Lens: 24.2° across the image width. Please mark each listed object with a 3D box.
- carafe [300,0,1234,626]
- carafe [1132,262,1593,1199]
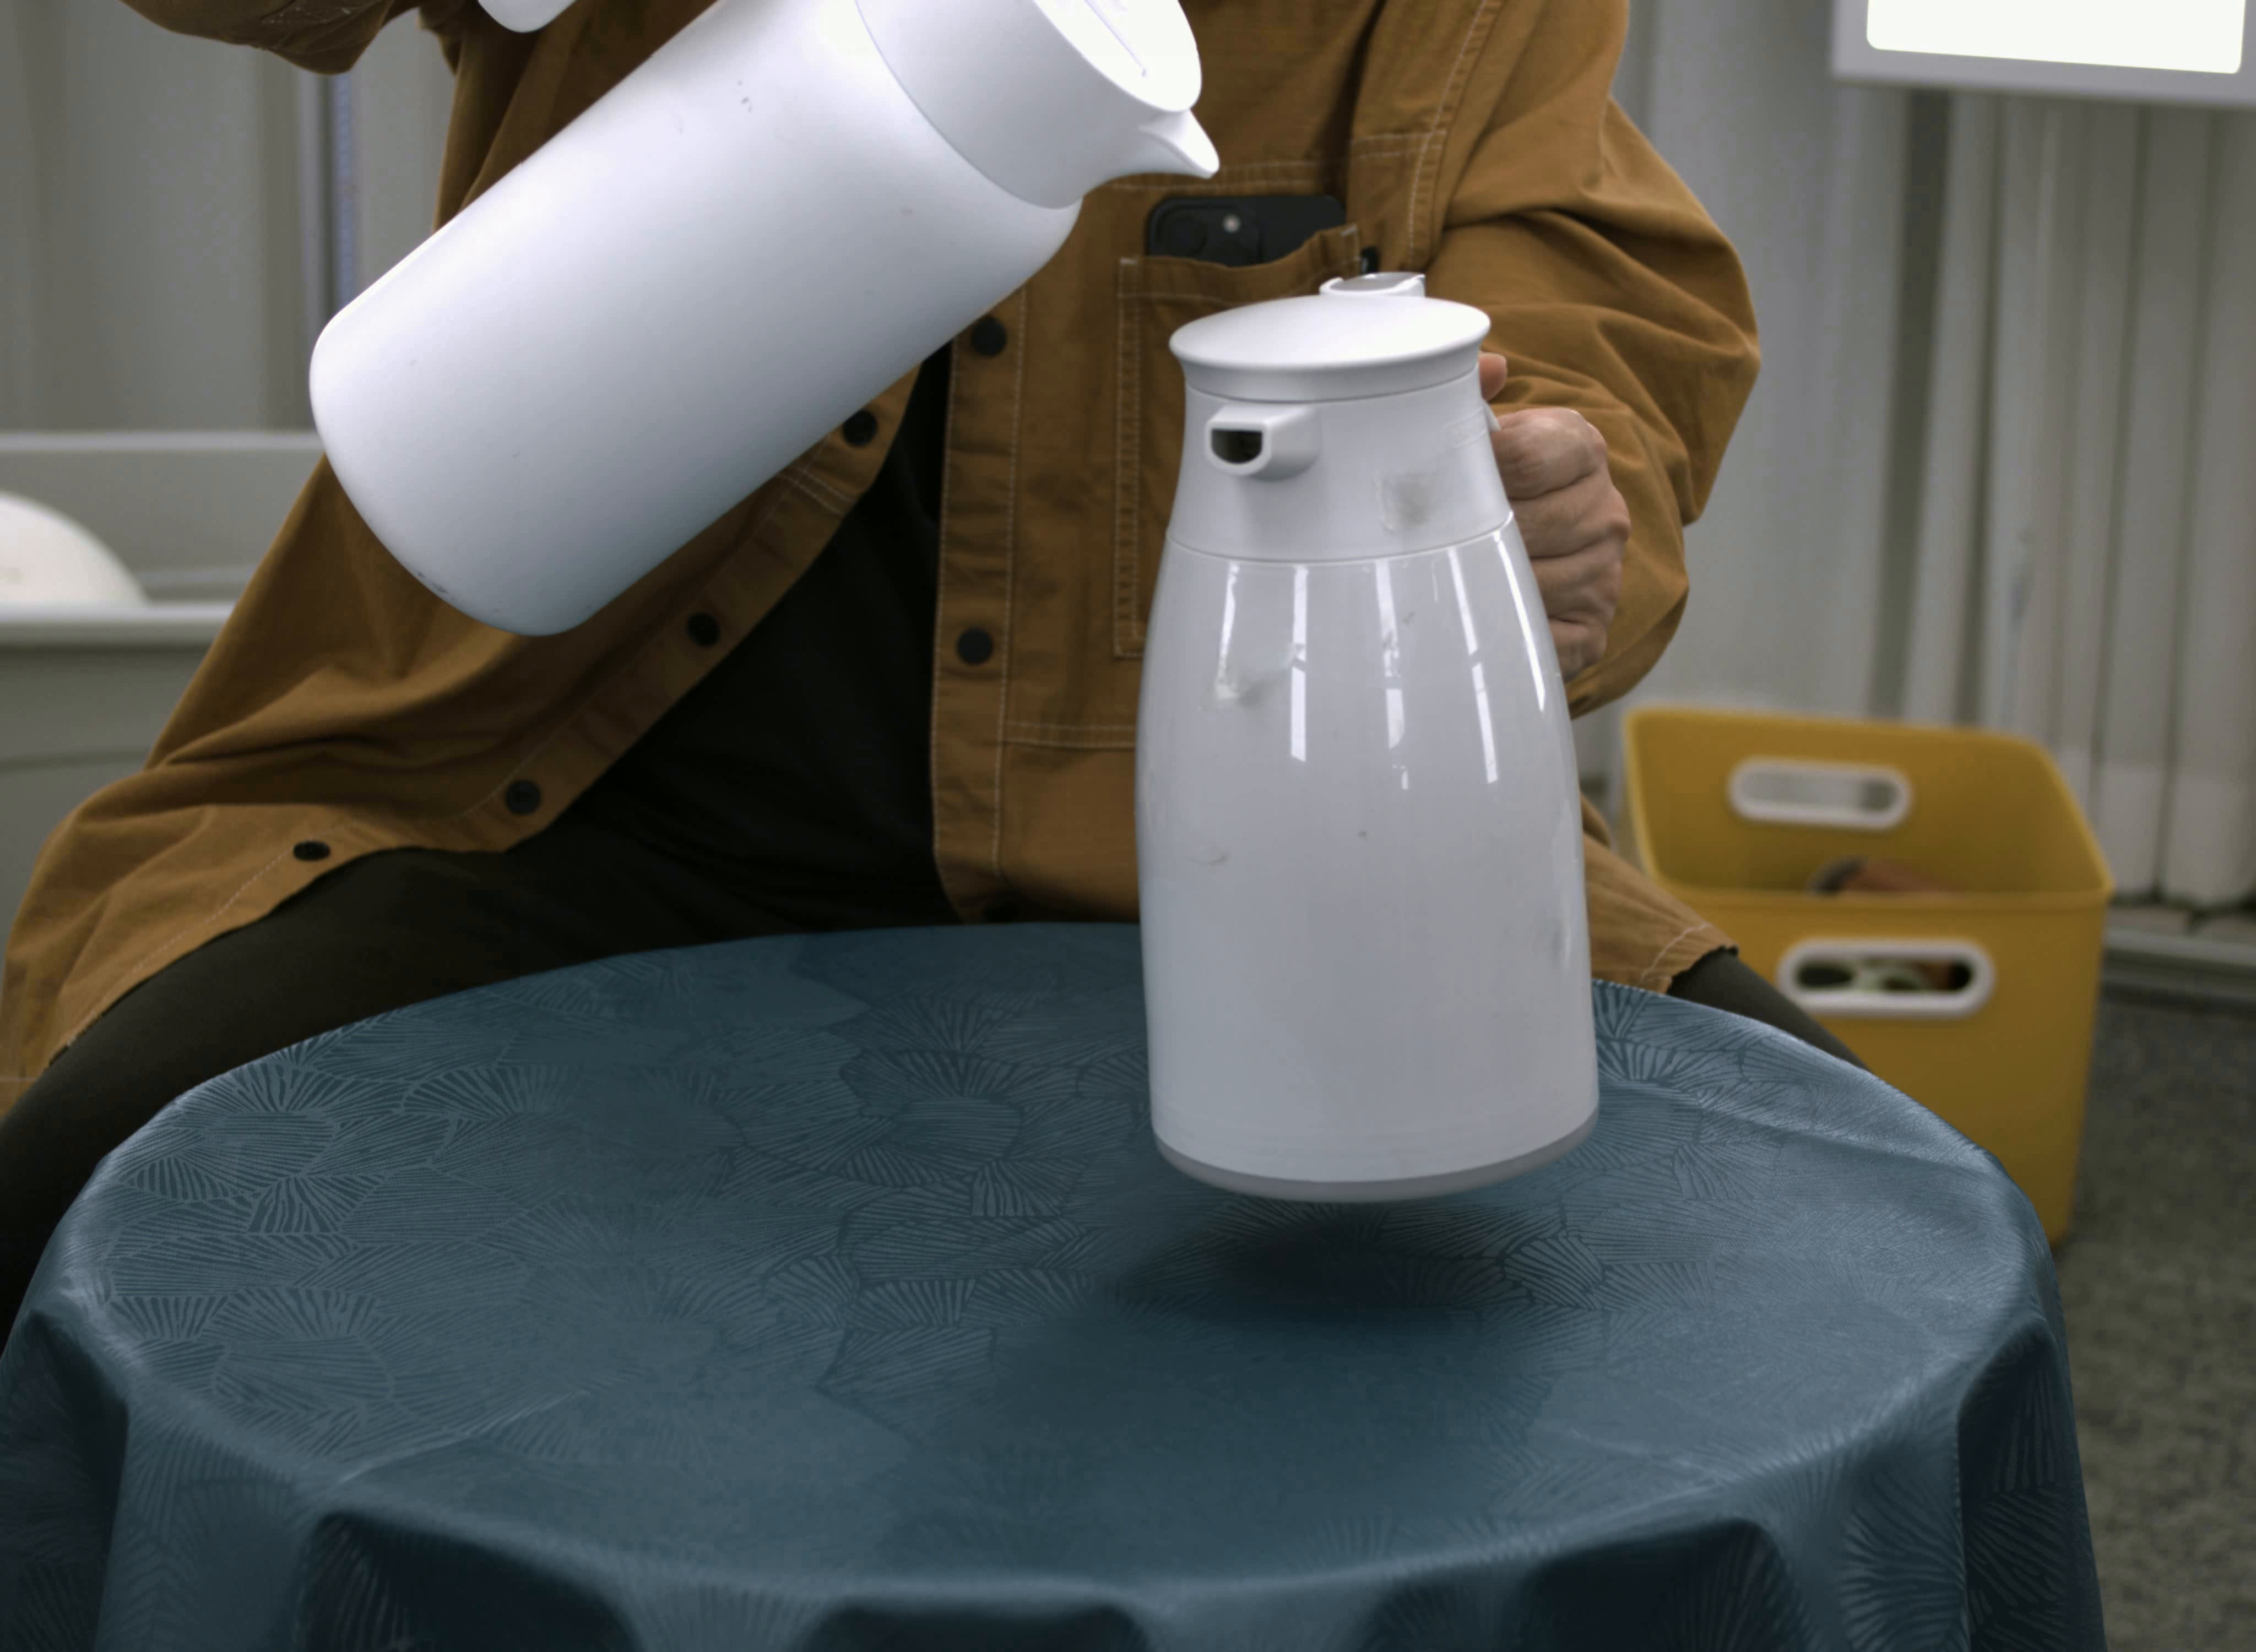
[{"bbox_3d":[-0.121,-0.187,1.510,0.268,0.174,0.123,-35,14,27],"label":"carafe"},{"bbox_3d":[0.072,-0.036,1.532,0.131,0.251,0.168,4,18,26],"label":"carafe"}]
